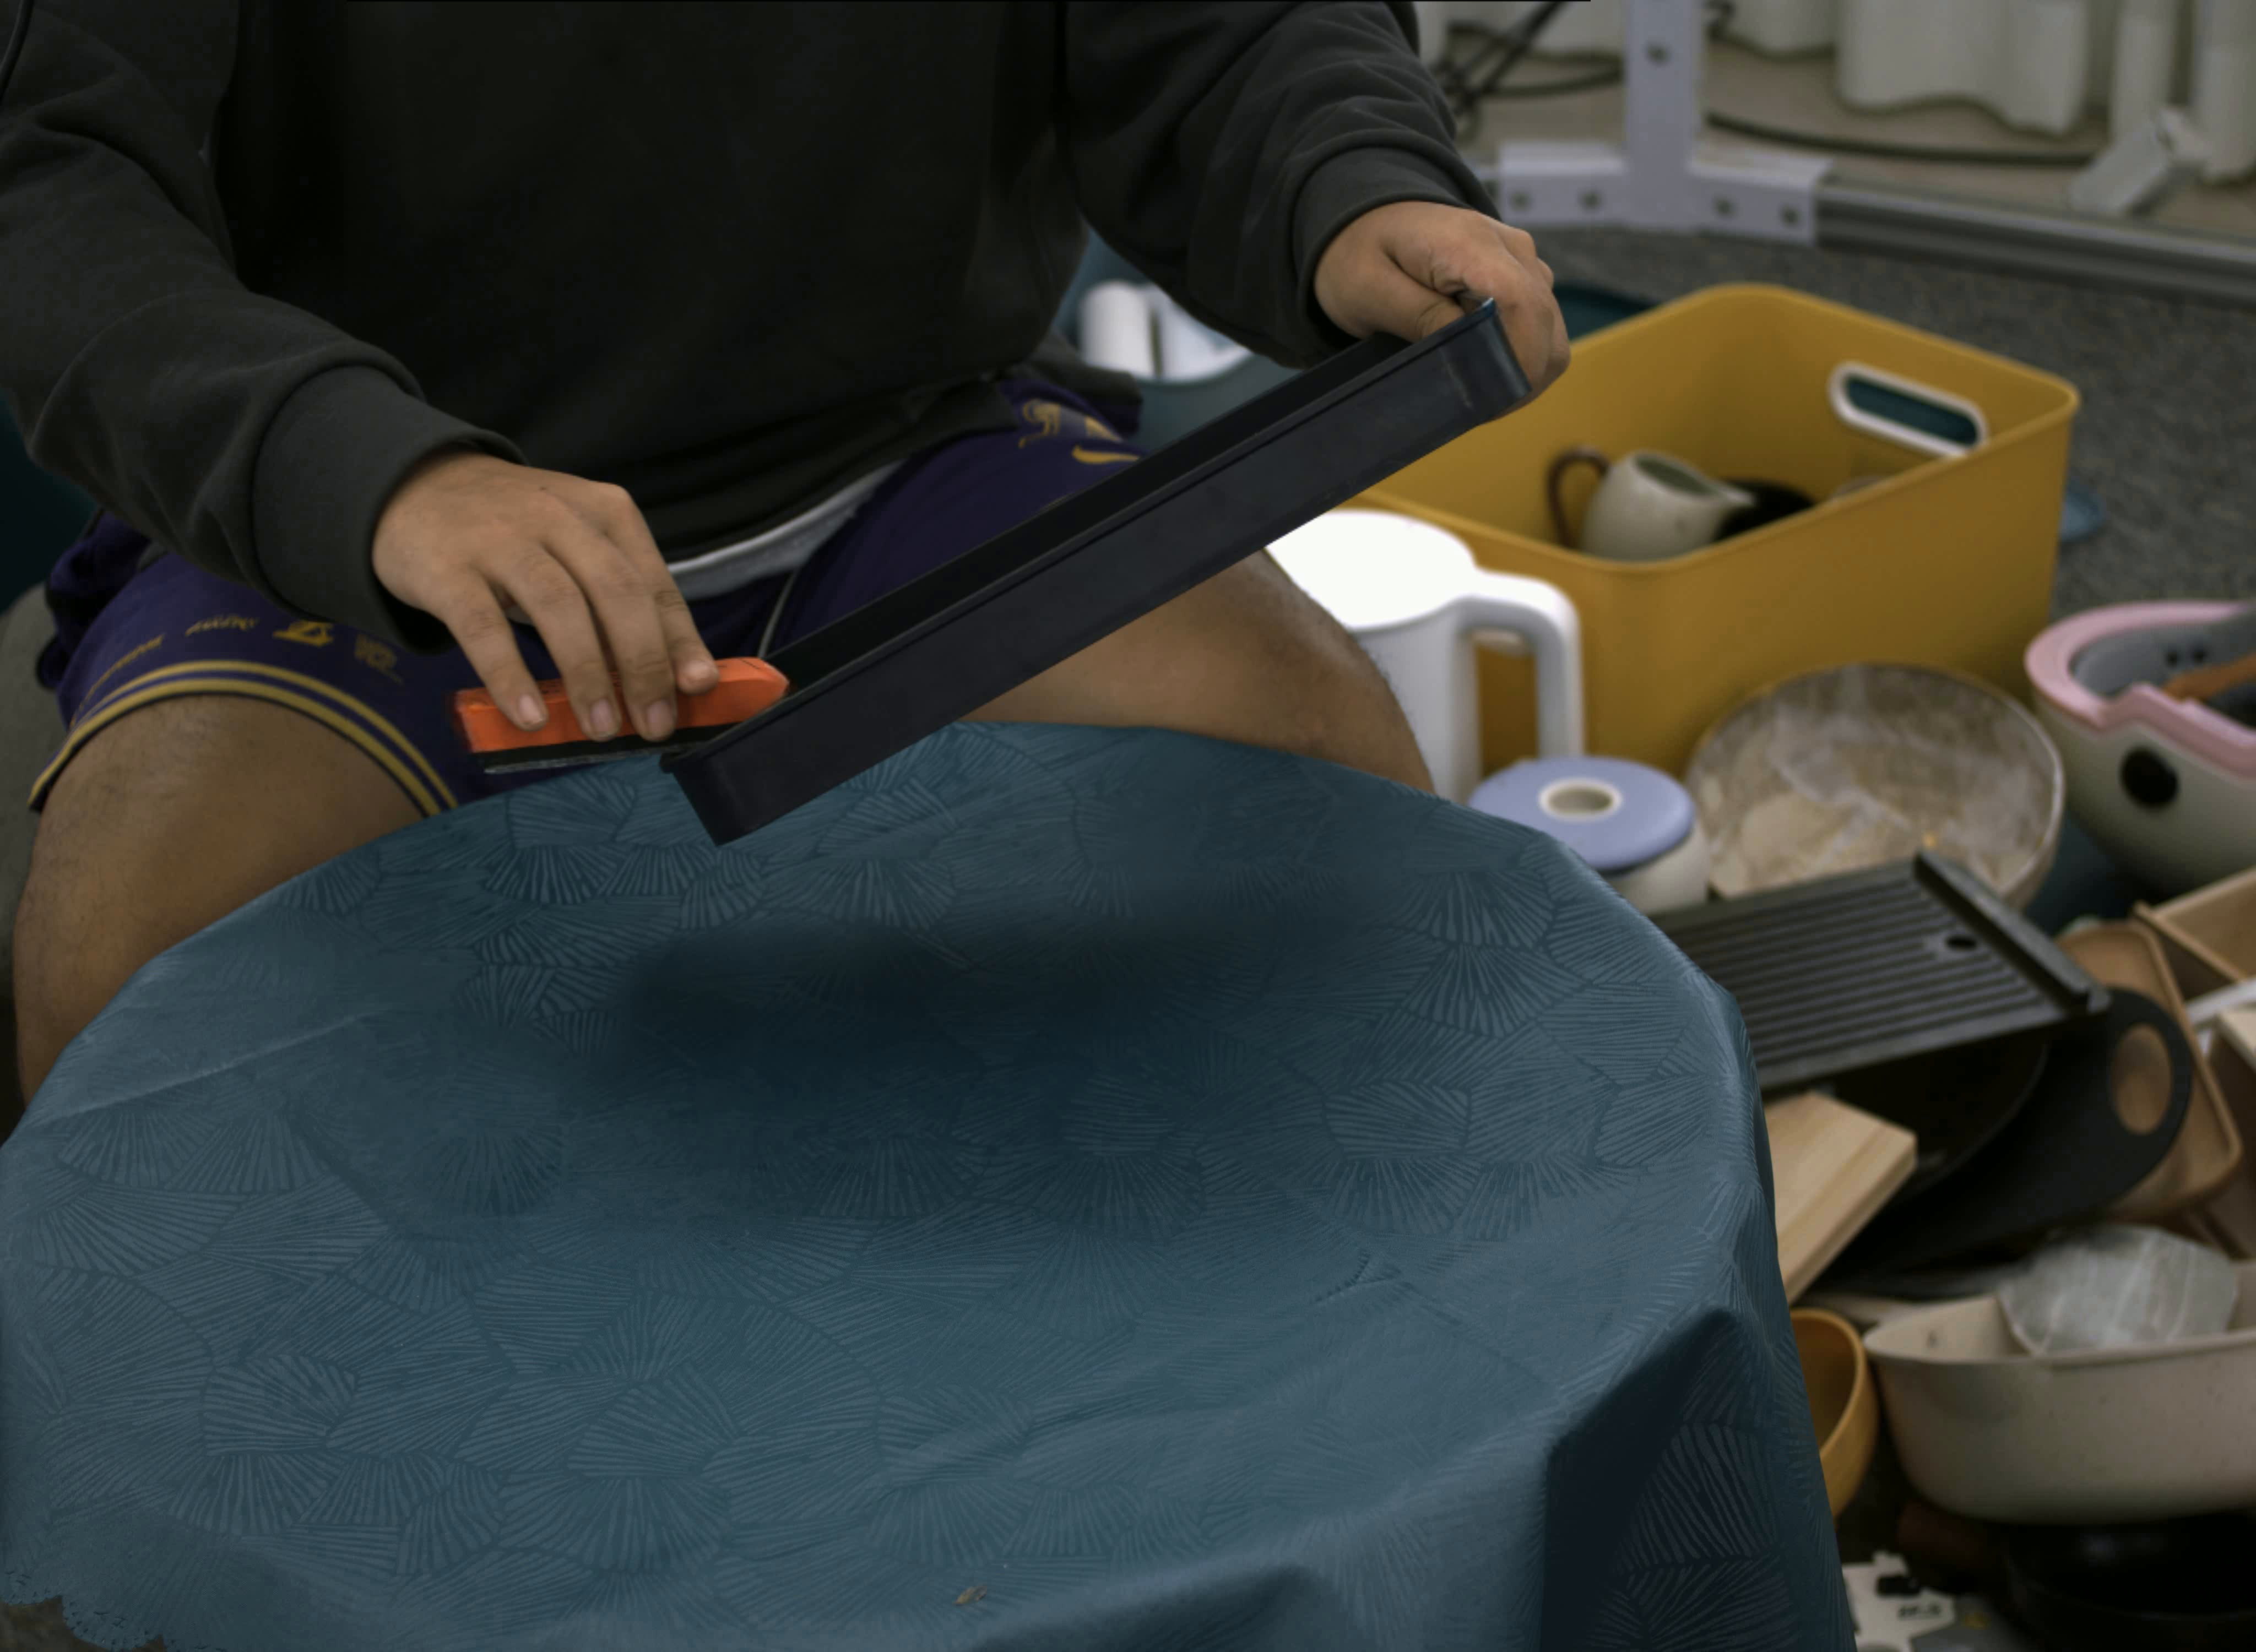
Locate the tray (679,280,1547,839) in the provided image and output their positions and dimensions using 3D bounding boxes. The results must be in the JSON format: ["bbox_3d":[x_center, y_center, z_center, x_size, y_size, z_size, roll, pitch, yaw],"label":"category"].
[{"bbox_3d":[-0.006,-0.094,1.934,0.317,0.037,0.184,-30,6,0],"label":"tray"}]

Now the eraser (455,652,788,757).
[{"bbox_3d":[-0.171,-0.041,1.902,0.108,0.023,0.058,-8,1,-16],"label":"eraser"}]
